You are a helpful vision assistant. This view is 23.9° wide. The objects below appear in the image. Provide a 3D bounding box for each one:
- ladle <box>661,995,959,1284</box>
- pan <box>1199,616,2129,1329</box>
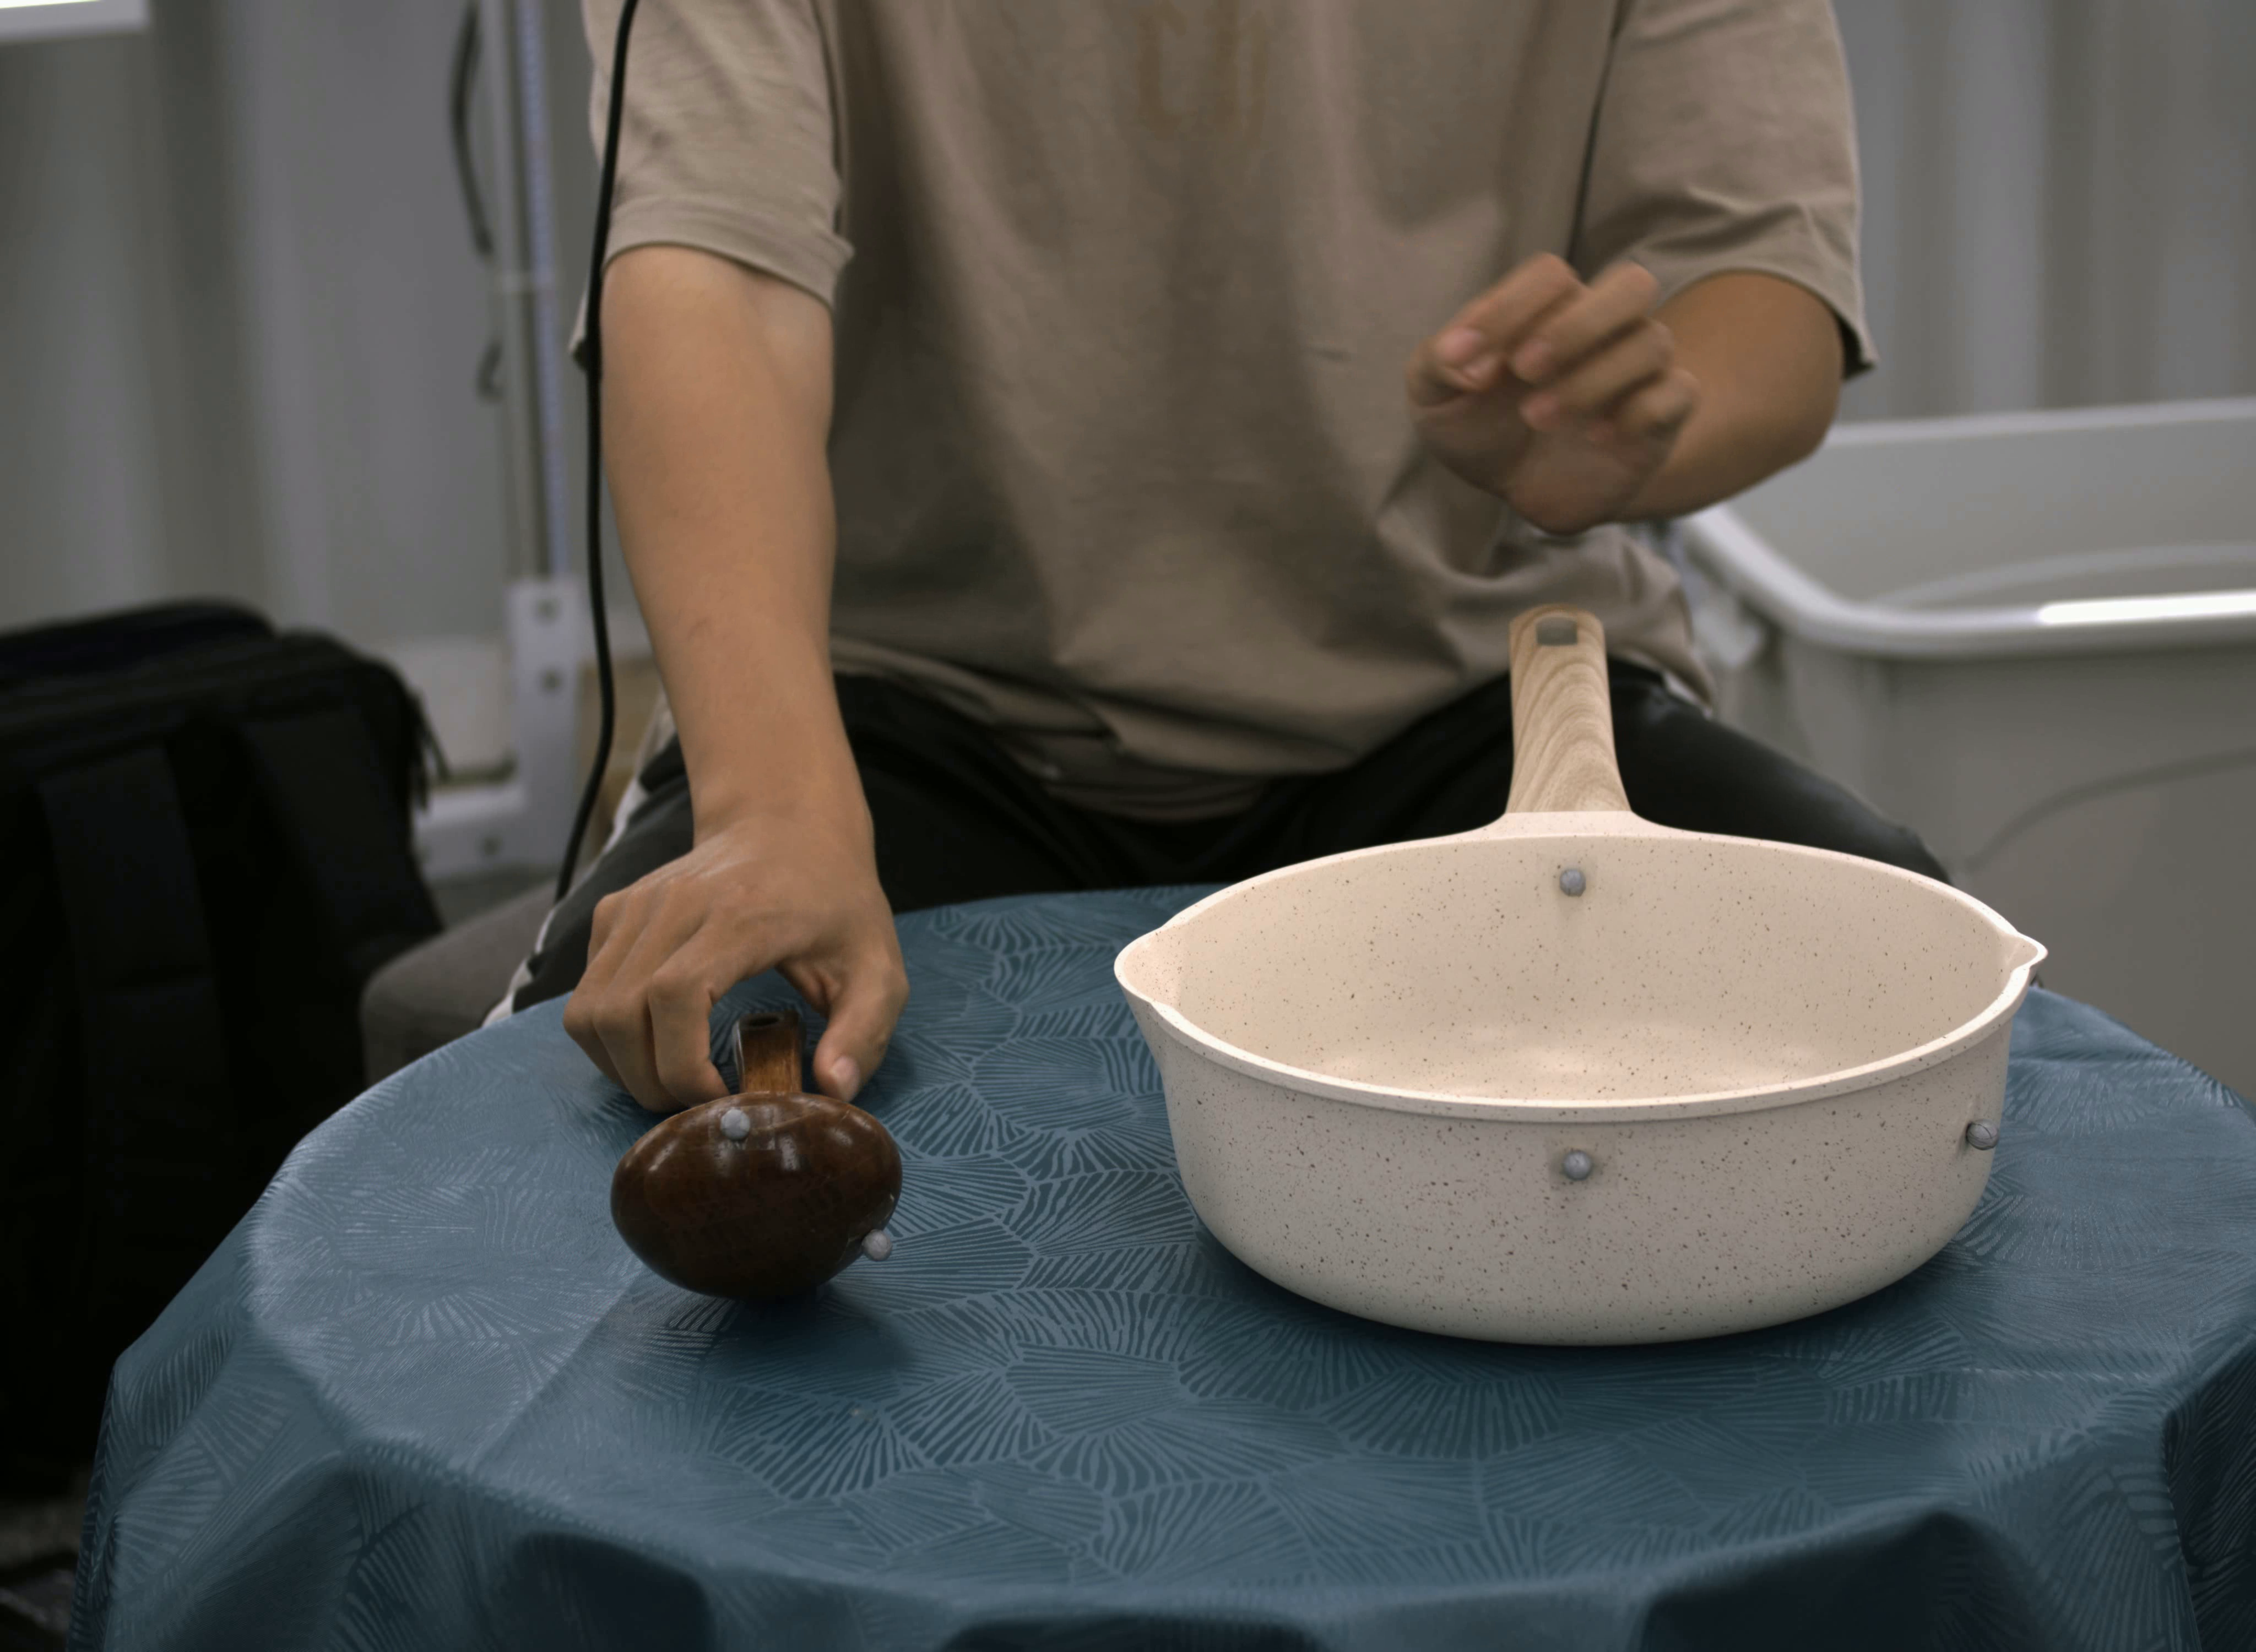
[{"bbox_3d":[-0.090,0.067,1.556,0.081,0.076,0.275,-5,17,0],"label":"ladle"},{"bbox_3d":[0.157,0.039,1.585,0.263,0.102,0.435,-3,16,4],"label":"pan"}]
